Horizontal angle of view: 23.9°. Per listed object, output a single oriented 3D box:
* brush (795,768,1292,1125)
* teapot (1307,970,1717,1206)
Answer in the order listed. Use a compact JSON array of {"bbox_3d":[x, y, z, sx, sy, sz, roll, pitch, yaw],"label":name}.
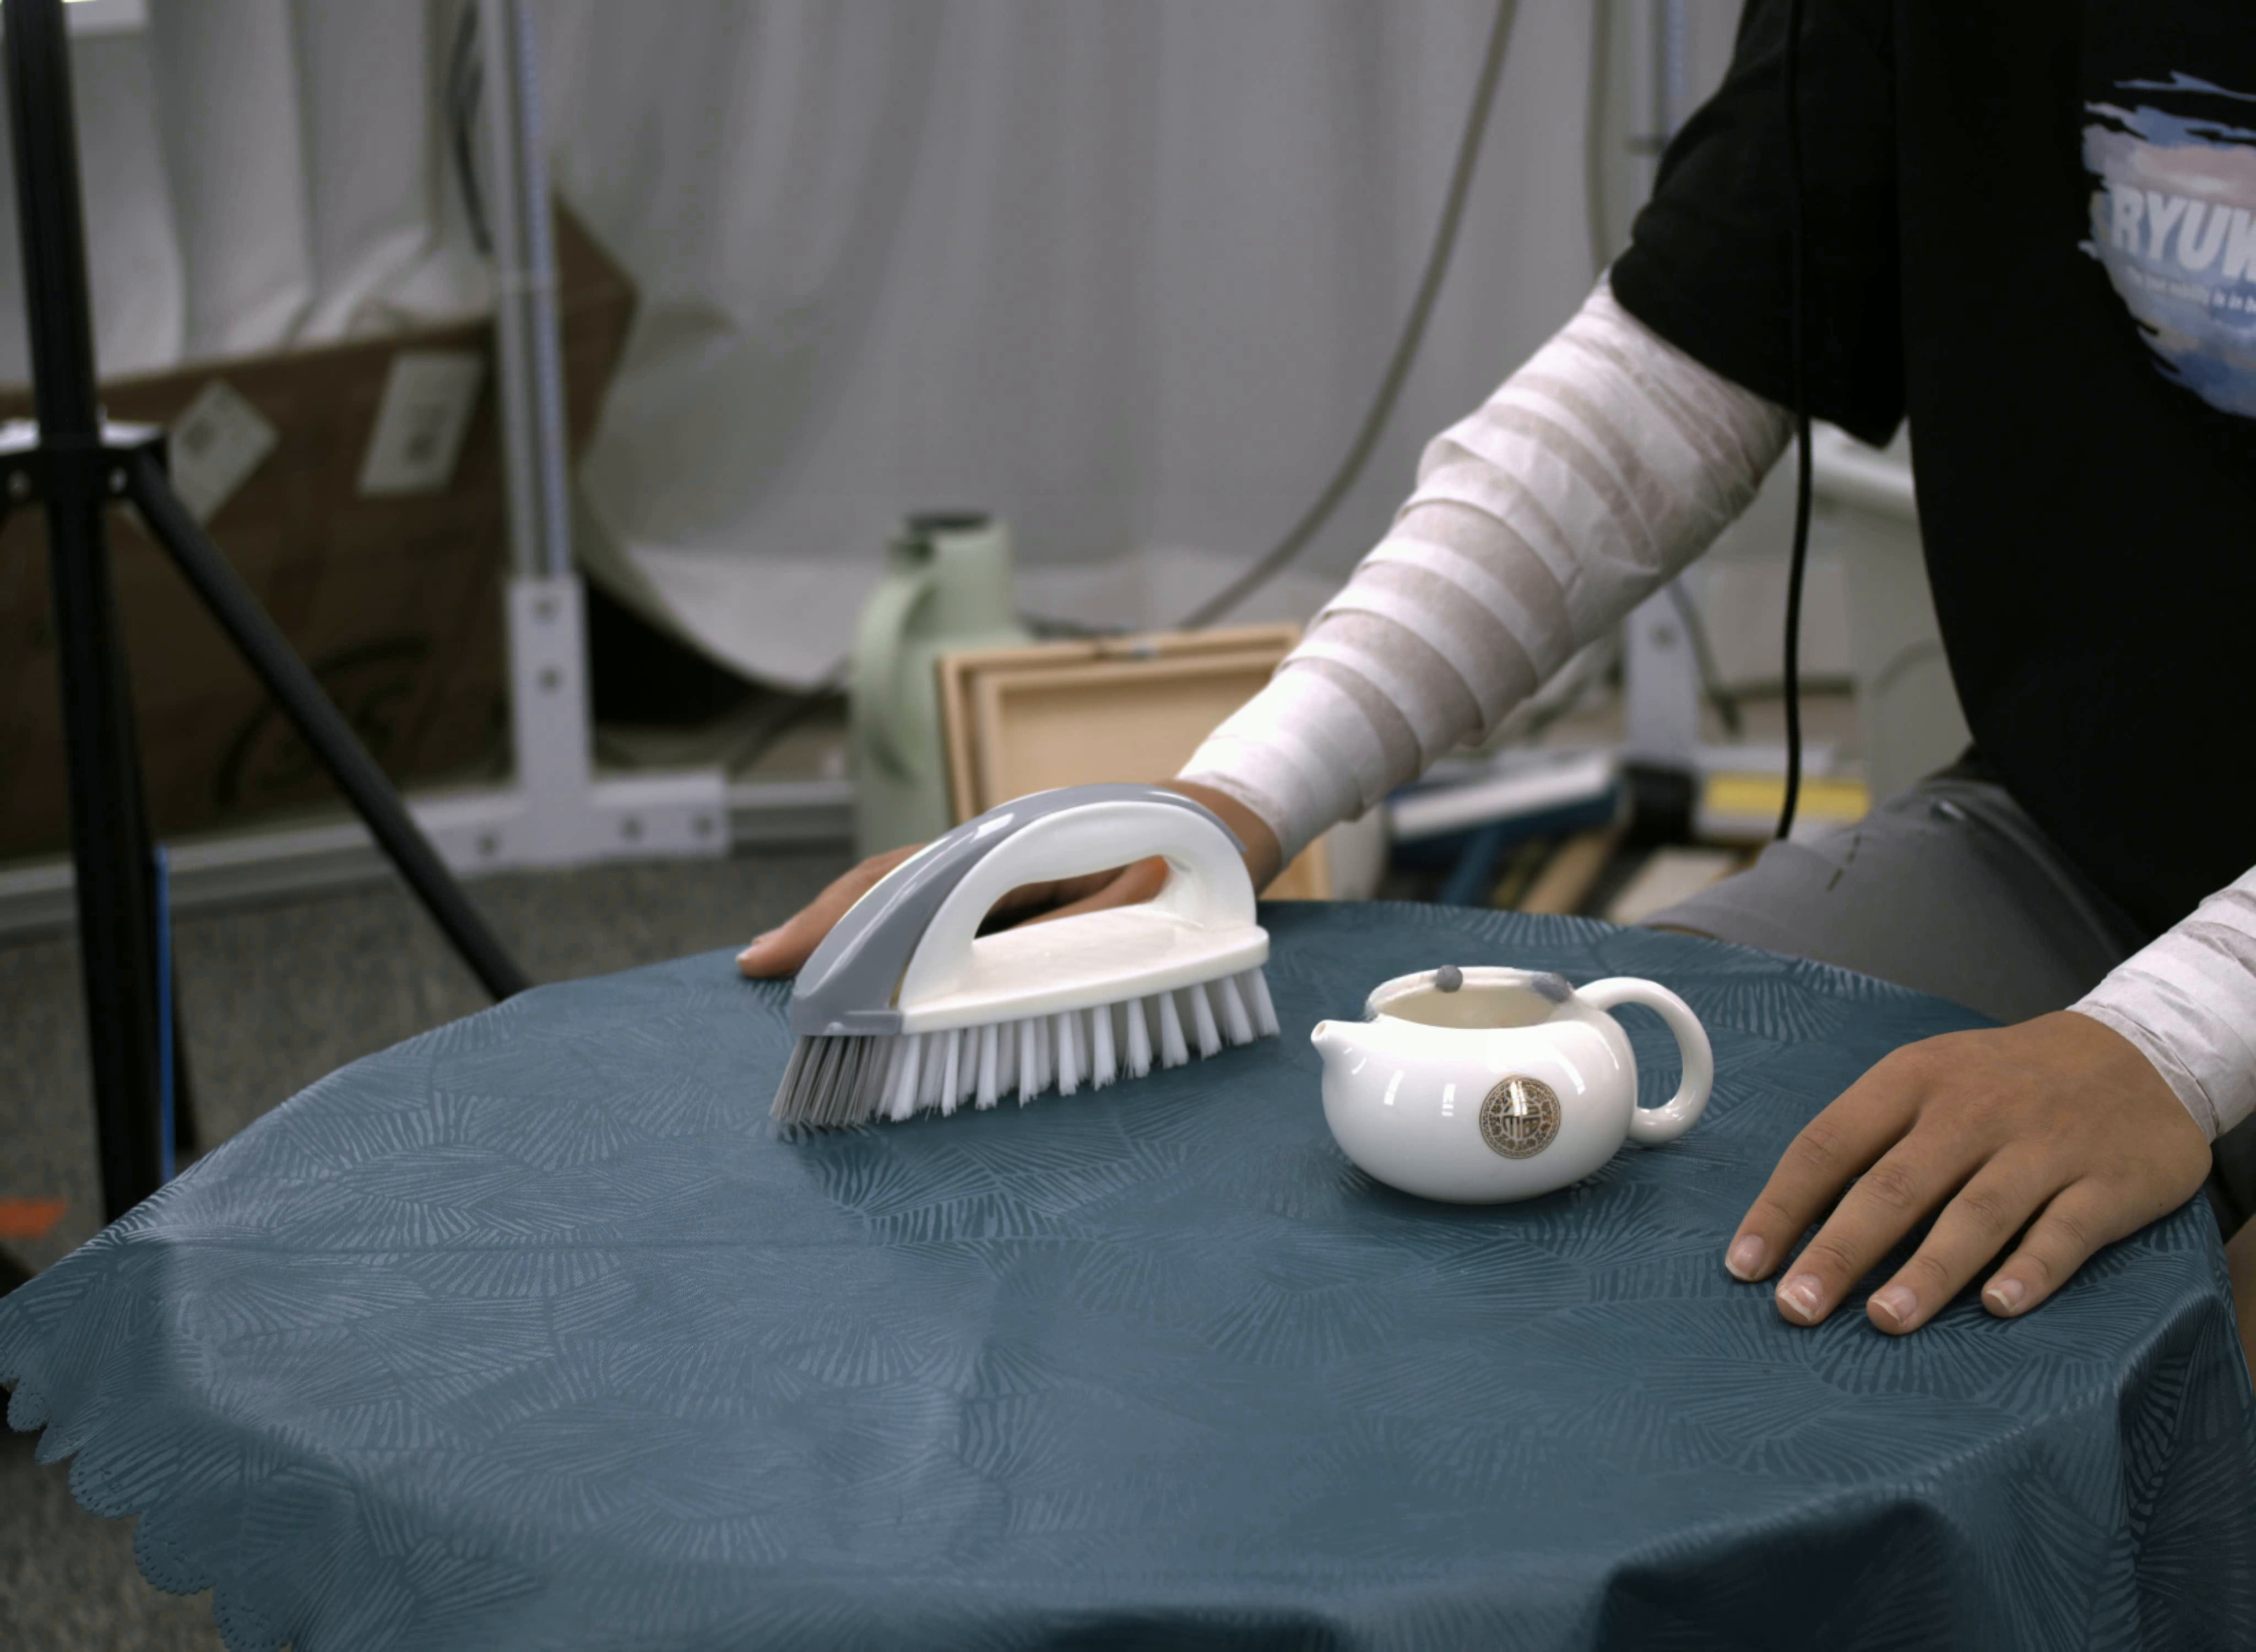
[{"bbox_3d":[-0.032,0.035,1.655,0.171,0.094,0.063,-13,16,-30],"label":"brush"},{"bbox_3d":[0.113,0.076,1.556,0.125,0.057,0.095,-6,13,-18],"label":"teapot"}]
